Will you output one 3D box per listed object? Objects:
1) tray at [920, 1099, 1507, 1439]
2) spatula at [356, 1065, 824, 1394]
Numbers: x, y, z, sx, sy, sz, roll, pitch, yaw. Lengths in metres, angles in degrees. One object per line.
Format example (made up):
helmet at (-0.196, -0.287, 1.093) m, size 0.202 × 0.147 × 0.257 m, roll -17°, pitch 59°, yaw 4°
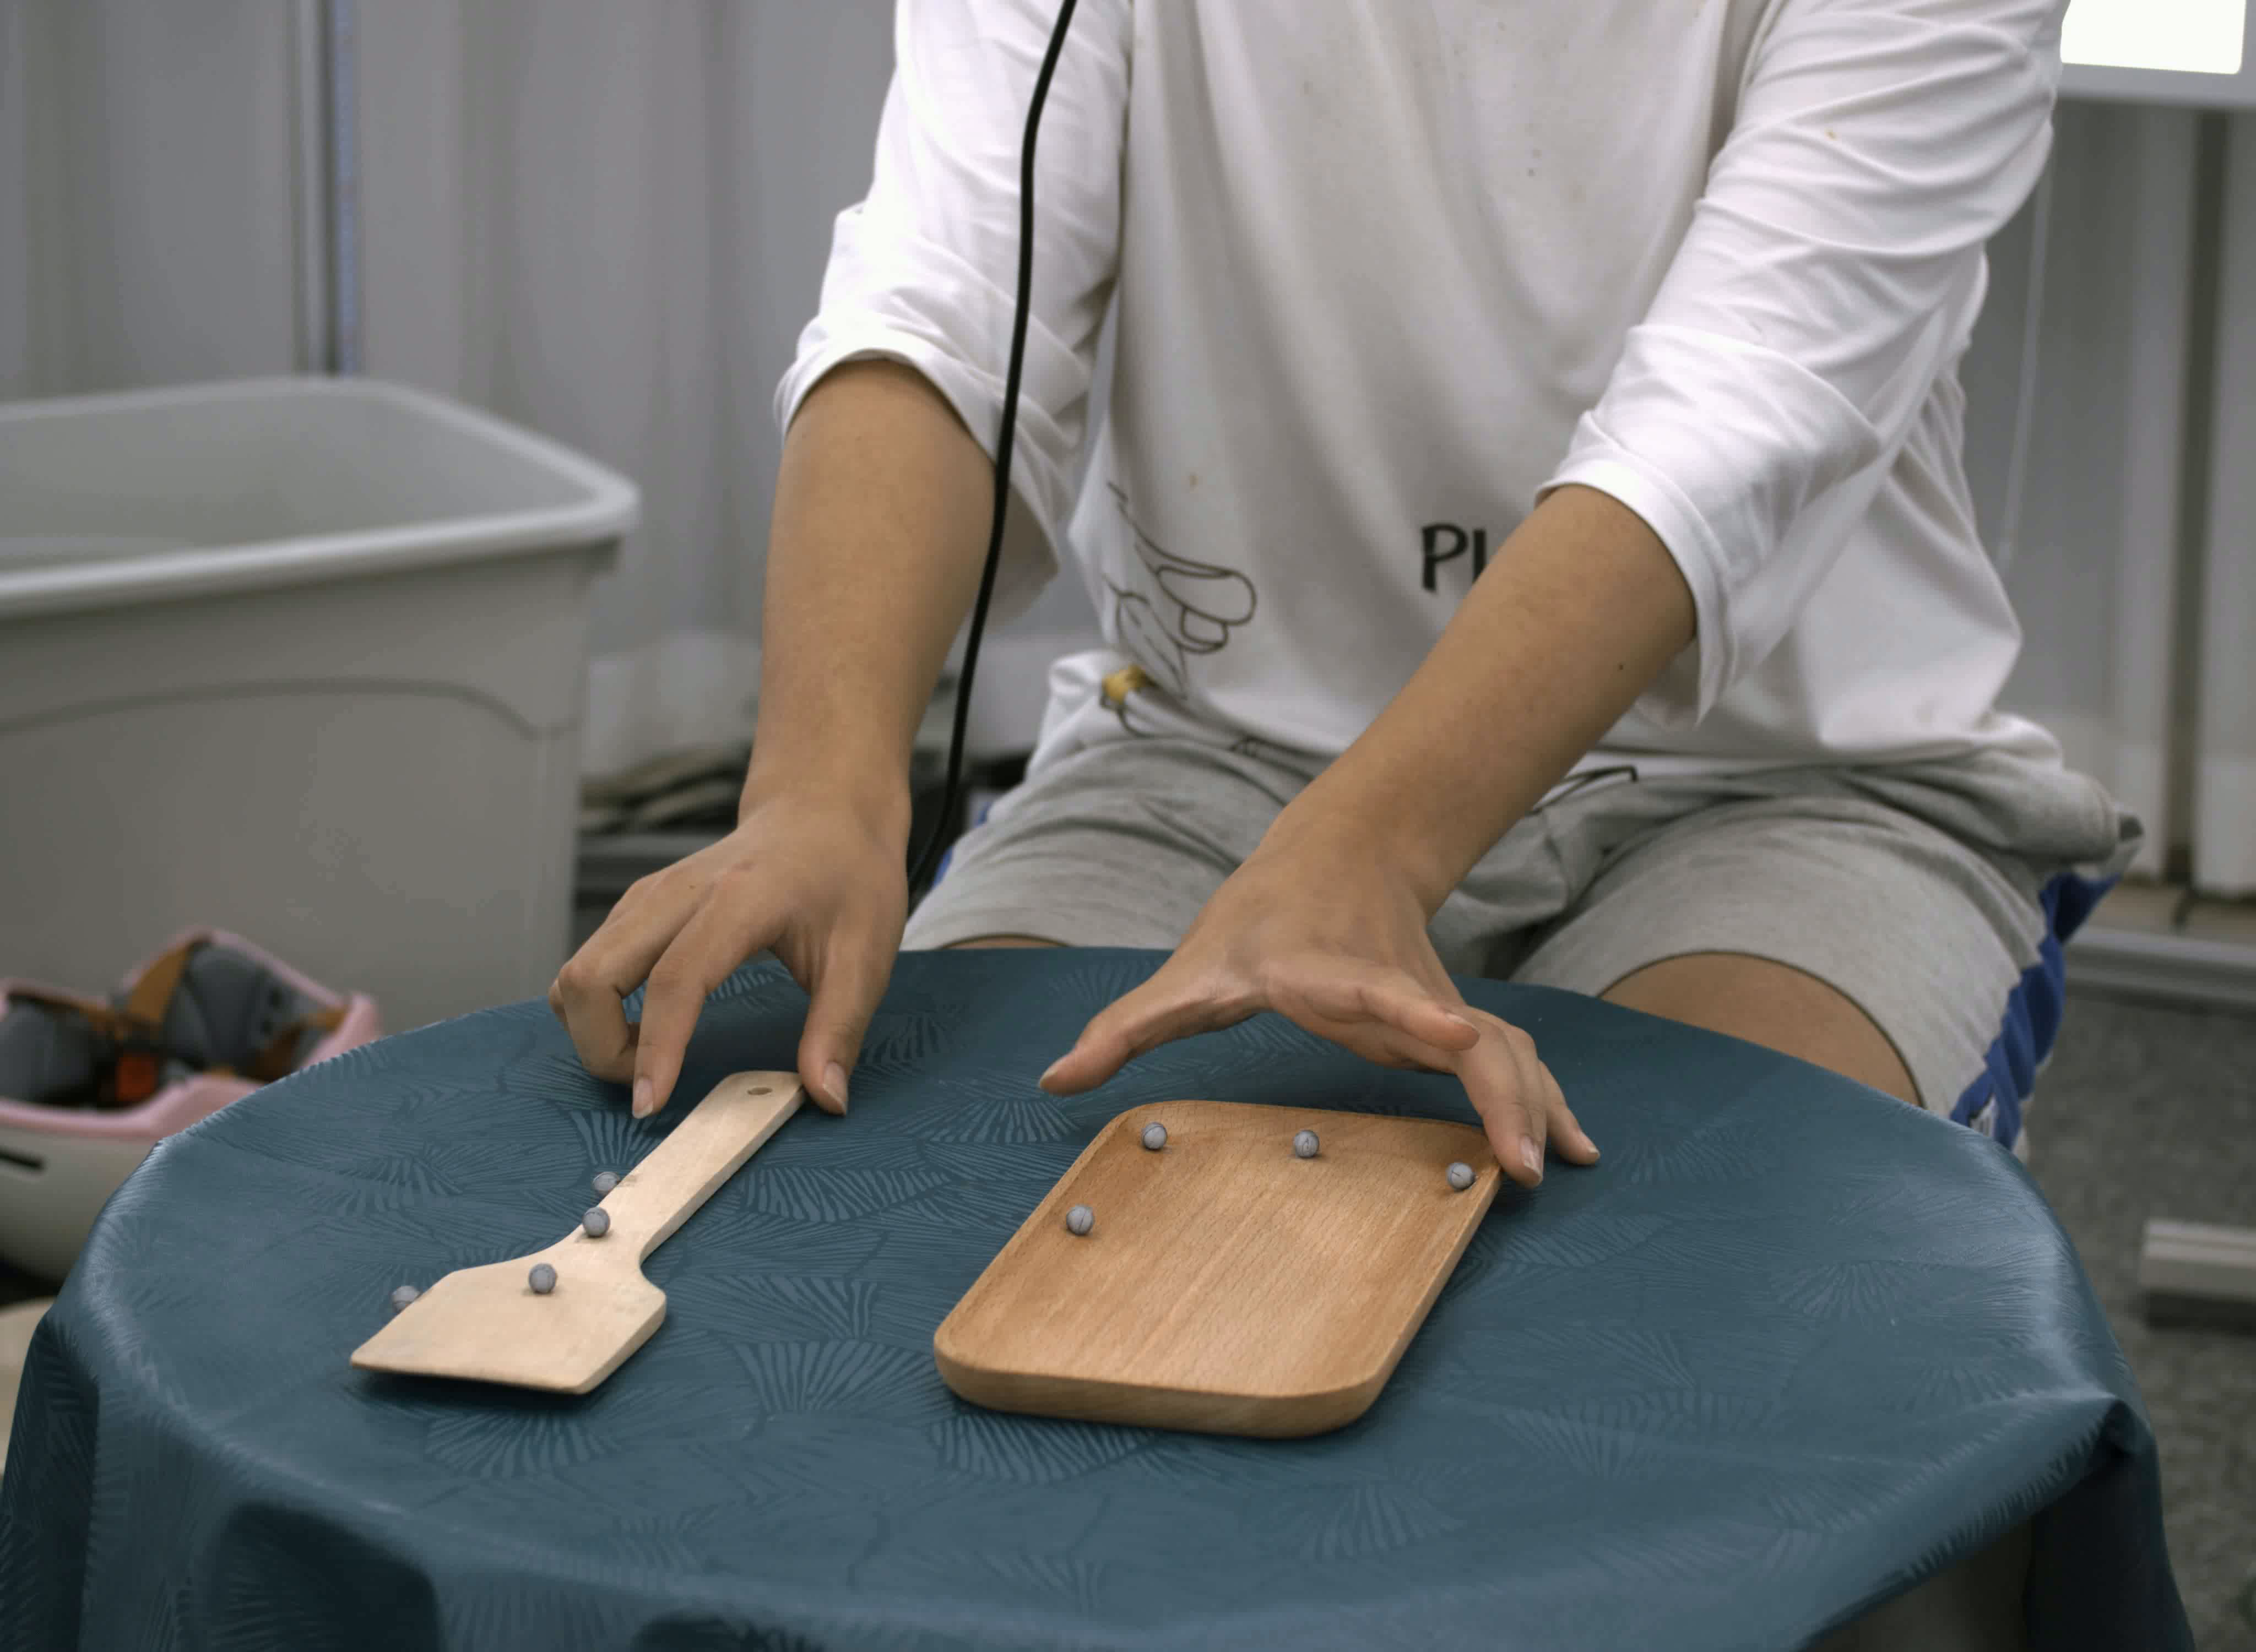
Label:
tray at (0.030, 0.127, 1.547) m, size 0.129 × 0.023 × 0.250 m, roll 2°, pitch 16°, yaw 15°
spatula at (-0.148, 0.118, 1.586) m, size 0.072 × 0.011 × 0.293 m, roll 5°, pitch 16°, yaw 14°
